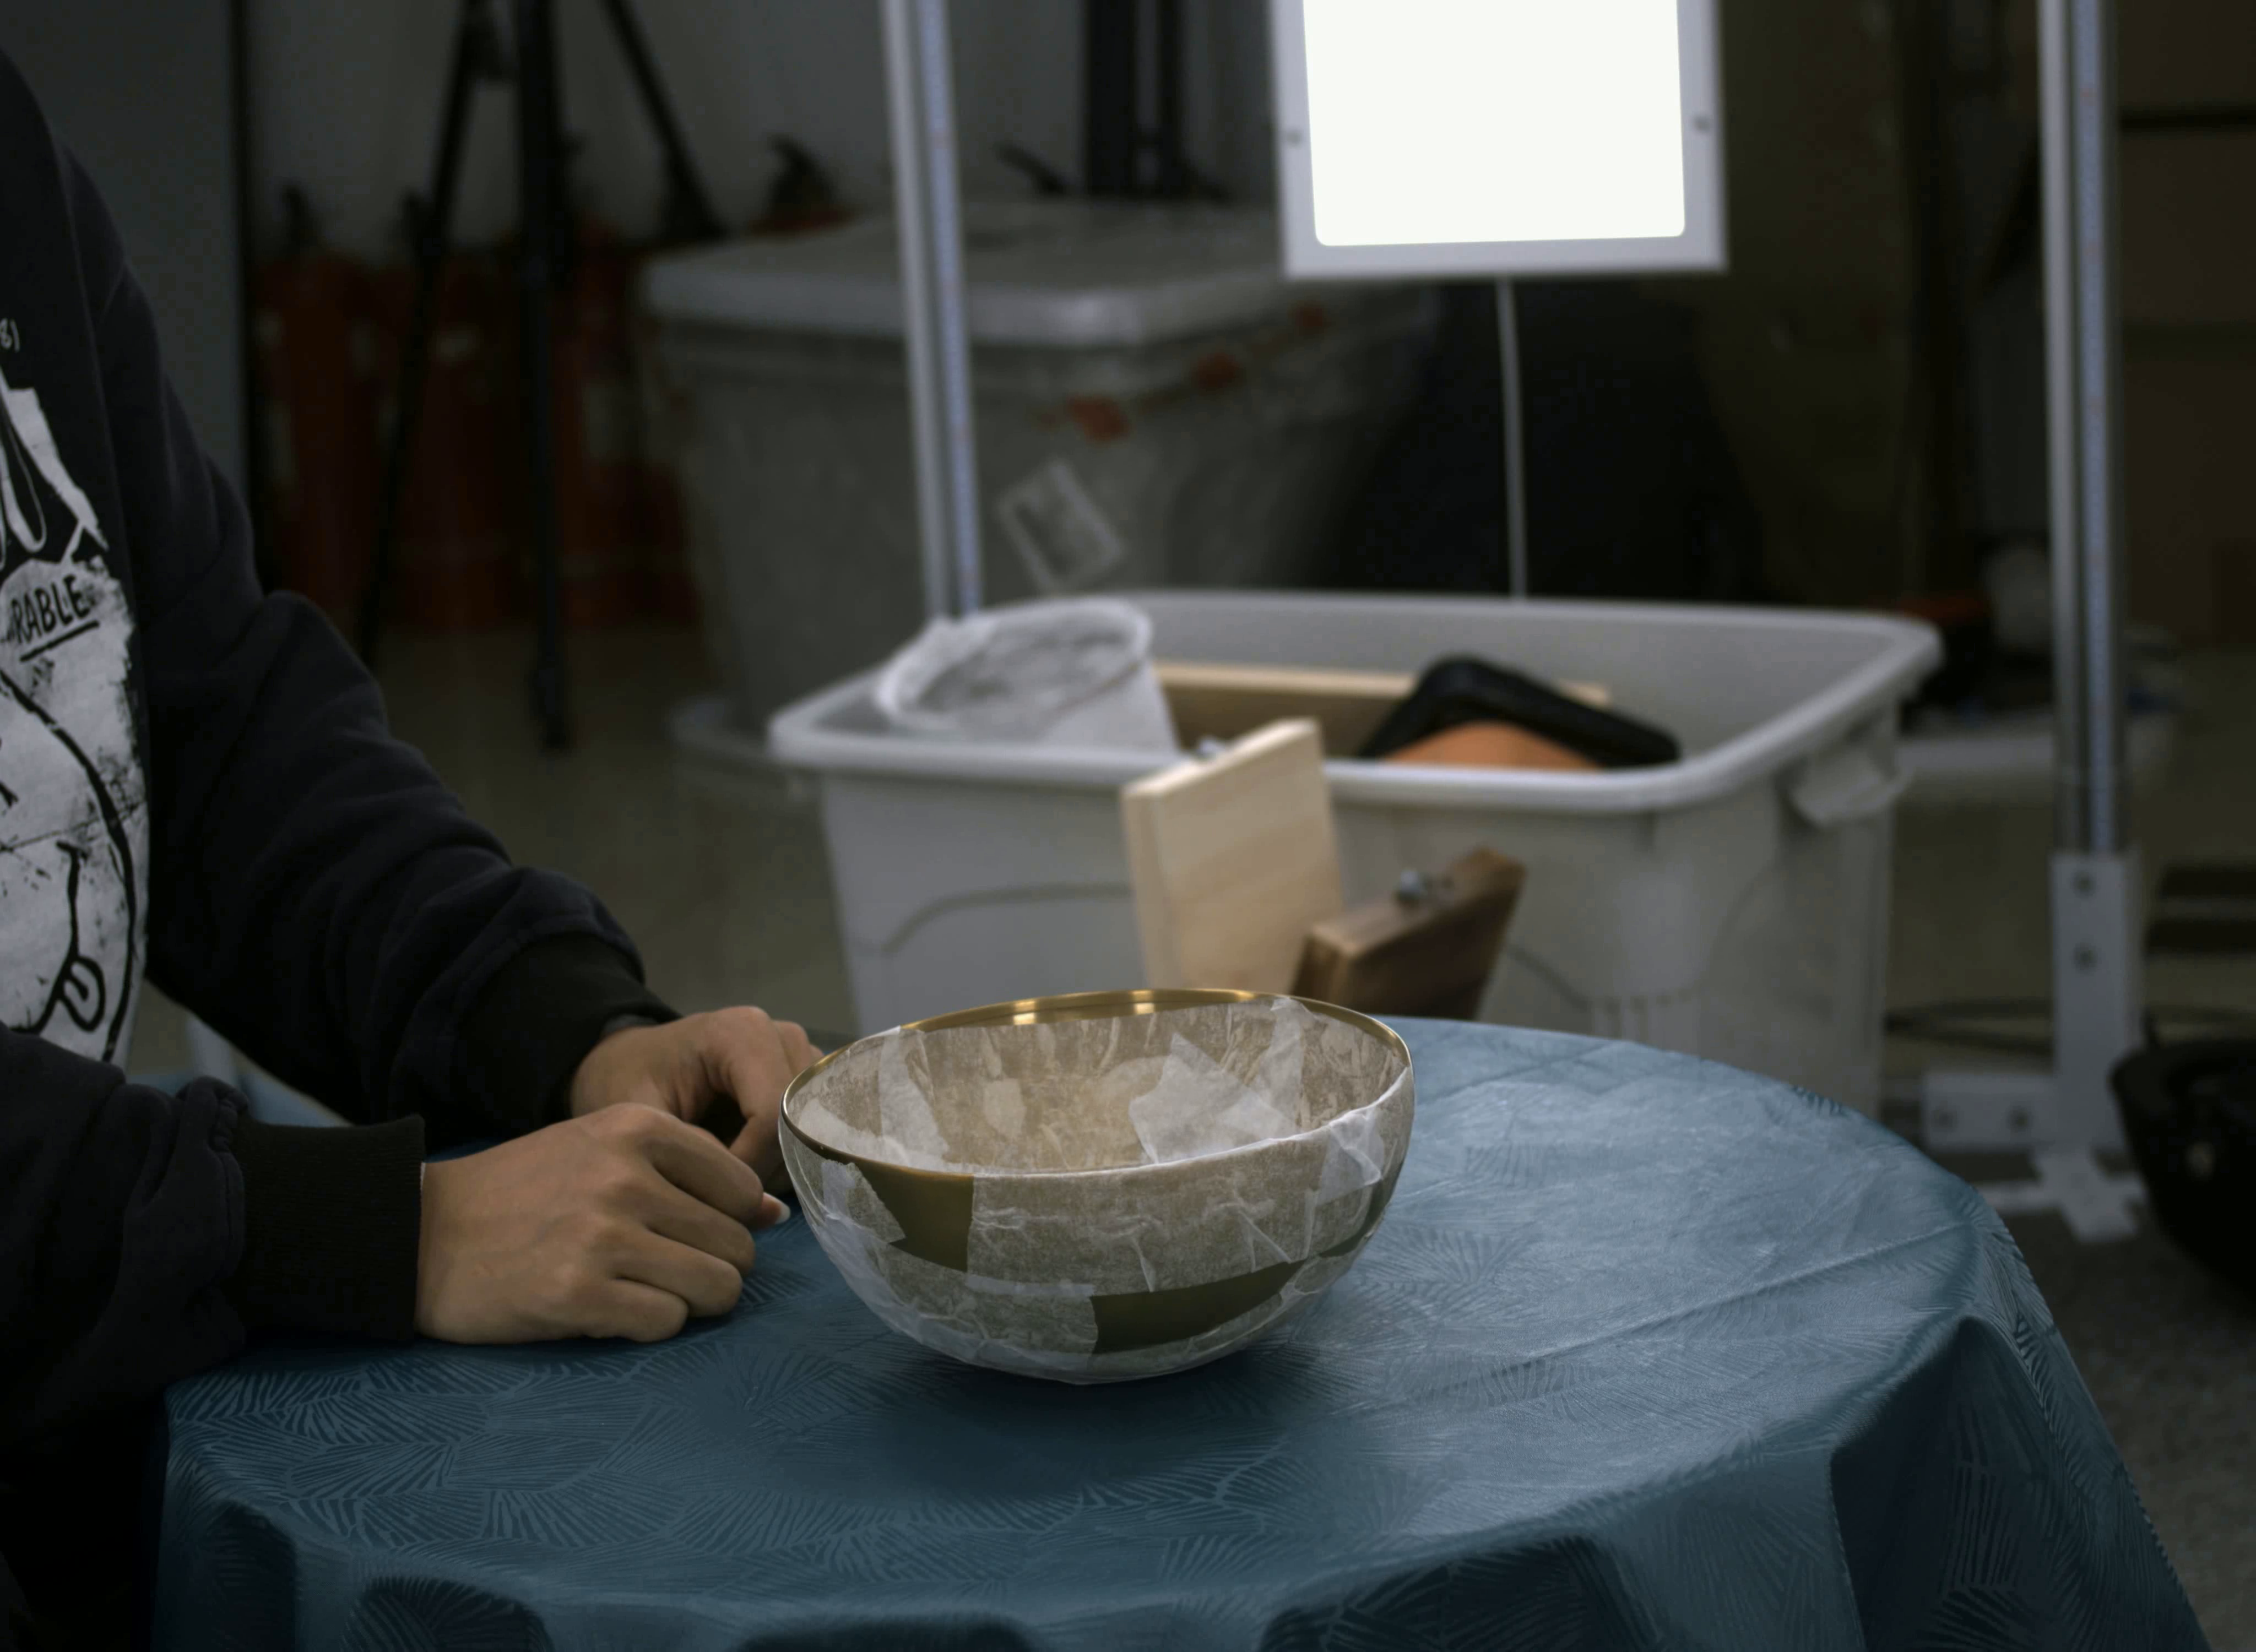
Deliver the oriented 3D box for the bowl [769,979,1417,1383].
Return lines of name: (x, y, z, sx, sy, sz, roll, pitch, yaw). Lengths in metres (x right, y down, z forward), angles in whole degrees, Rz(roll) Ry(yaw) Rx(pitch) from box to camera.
bowl: (-0.007, 0.119, 1.735, 0.214, 0.095, 0.214, -6, 15, 0)

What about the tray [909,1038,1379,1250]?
tray: (0.004, 0.110, 1.932, 0.099, 0.020, 0.235, -14, 18, -26)
